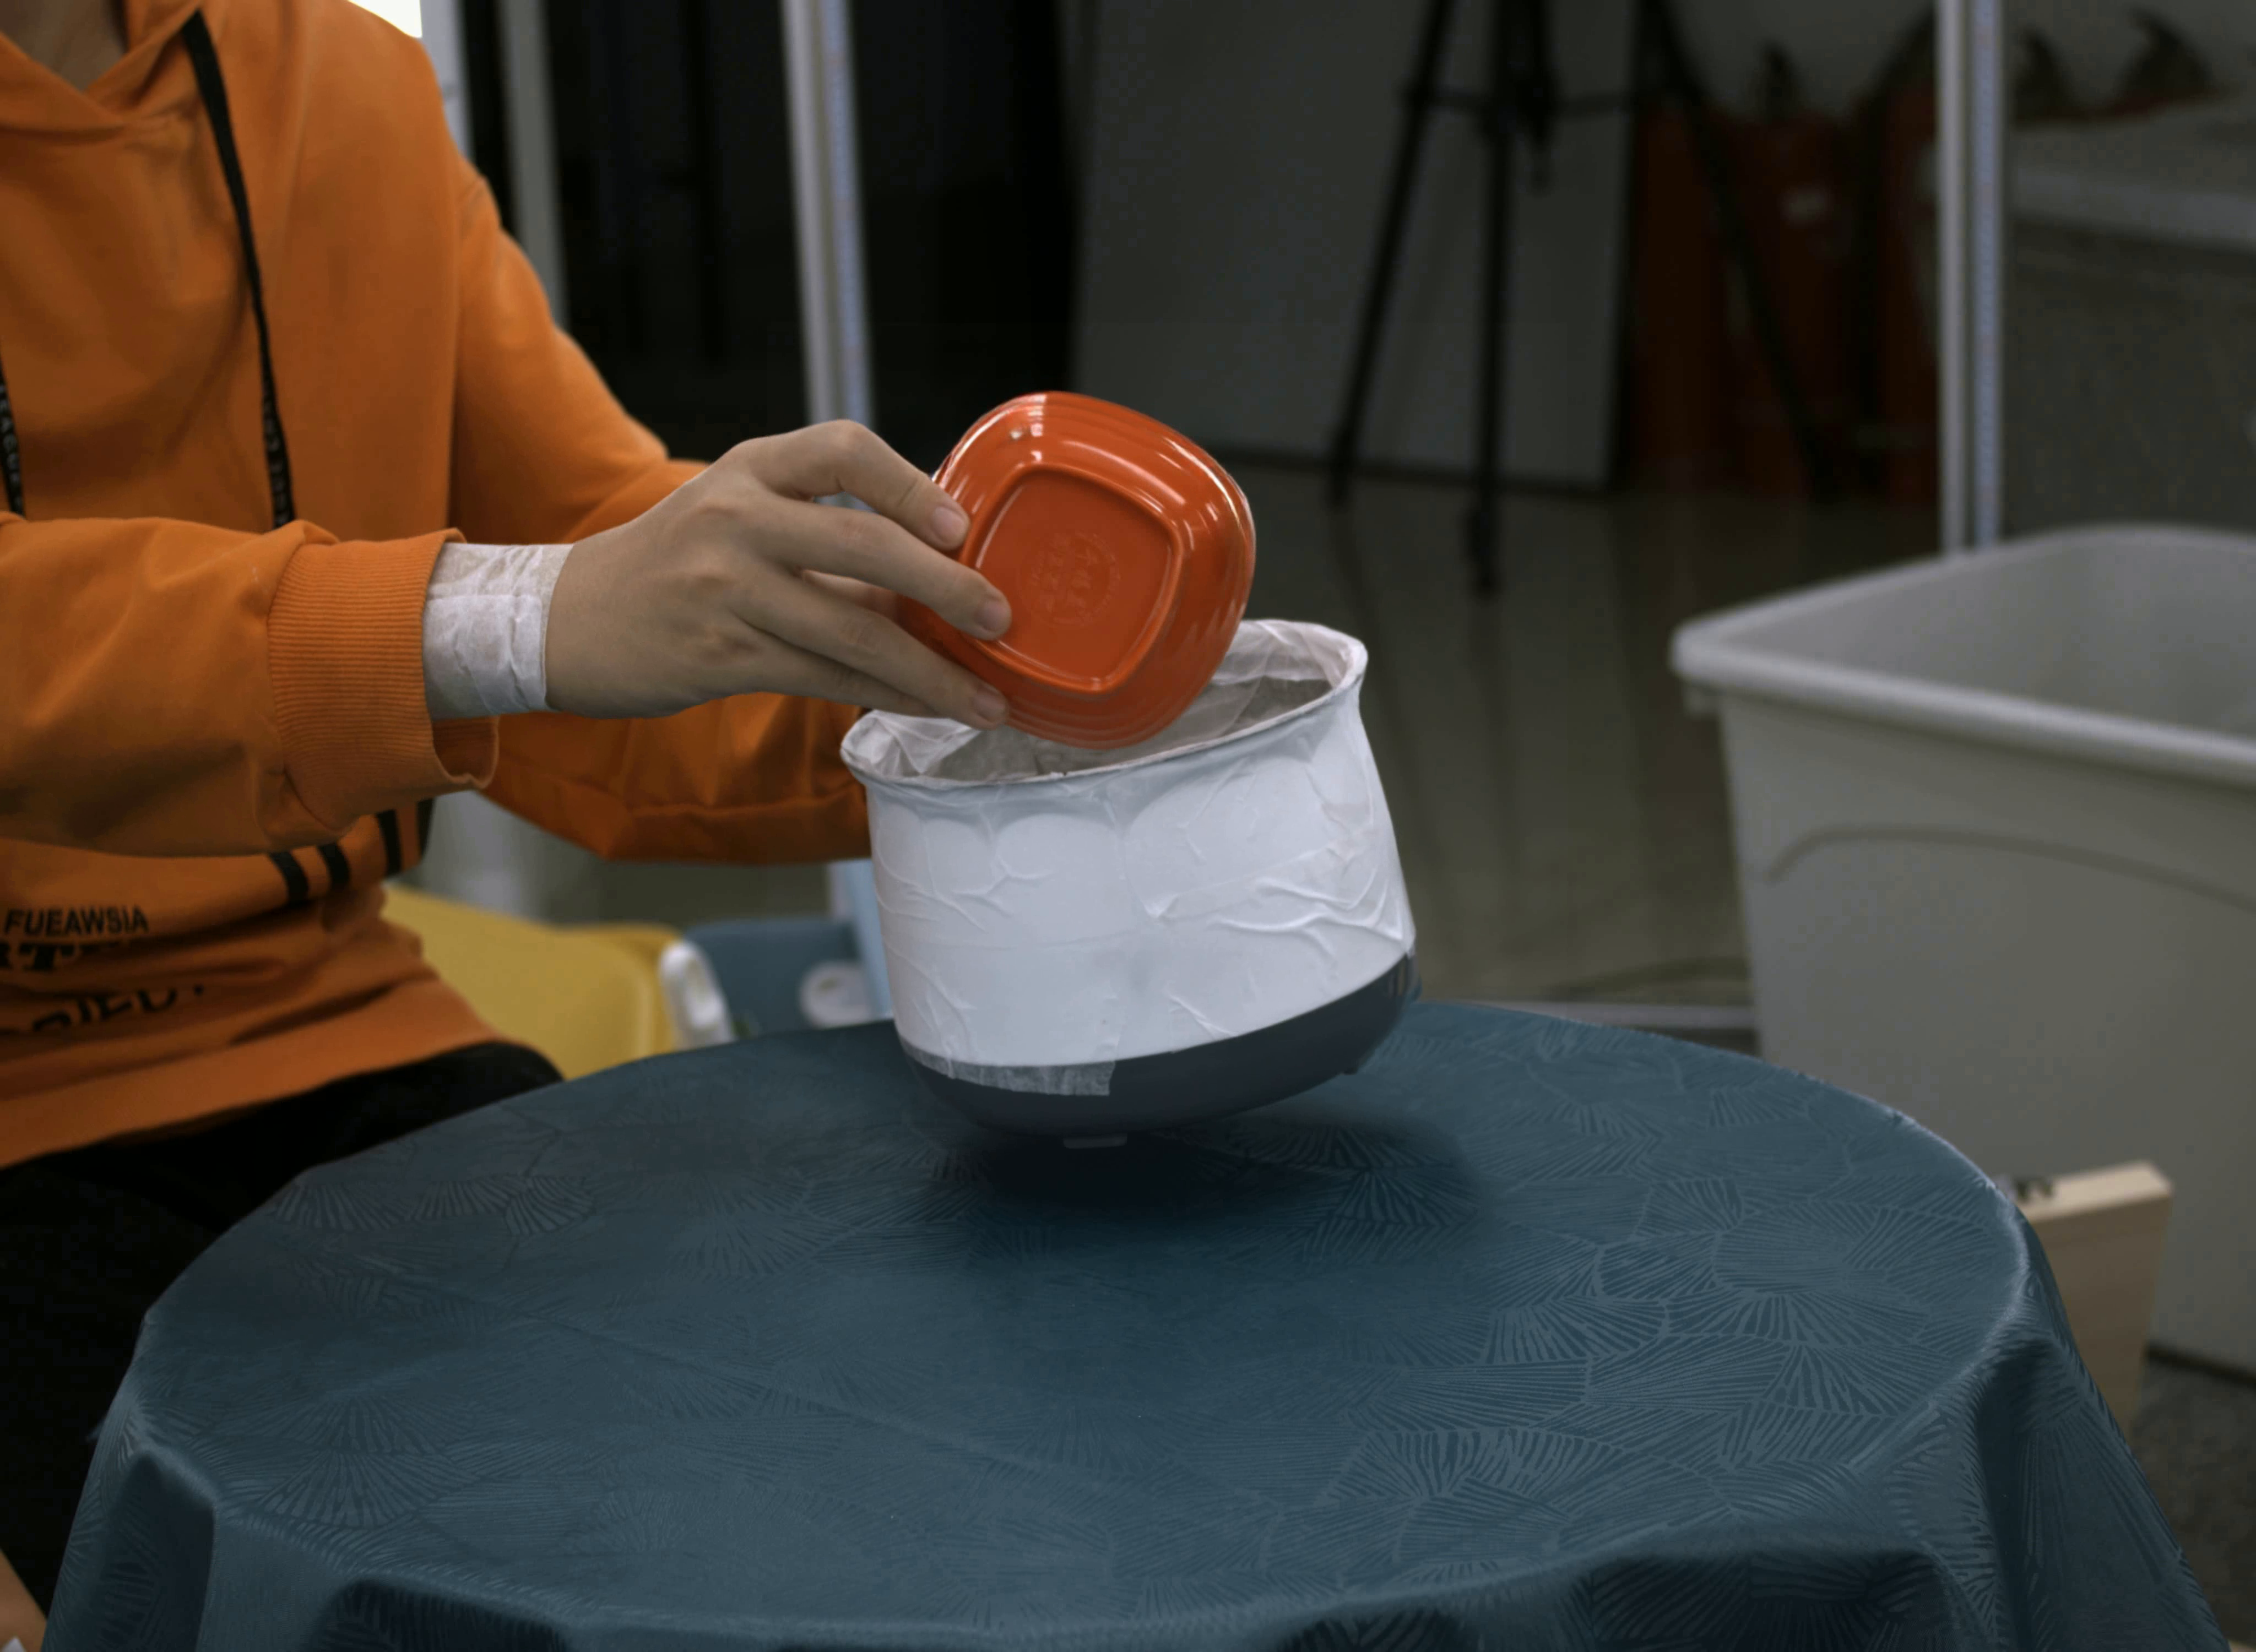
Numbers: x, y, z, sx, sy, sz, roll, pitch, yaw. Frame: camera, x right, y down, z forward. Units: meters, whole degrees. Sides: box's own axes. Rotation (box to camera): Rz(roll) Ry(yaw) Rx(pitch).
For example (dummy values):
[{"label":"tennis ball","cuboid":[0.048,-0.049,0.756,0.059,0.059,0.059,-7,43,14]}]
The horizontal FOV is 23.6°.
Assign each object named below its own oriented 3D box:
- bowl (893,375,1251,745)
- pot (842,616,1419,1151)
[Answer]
[{"label":"bowl","cuboid":[-0.019,-0.083,1.700,0.117,0.120,0.051,-2,5,5]},{"label":"pot","cuboid":[-0.008,0.013,1.805,0.175,0.138,0.236,-16,15,-20]}]
